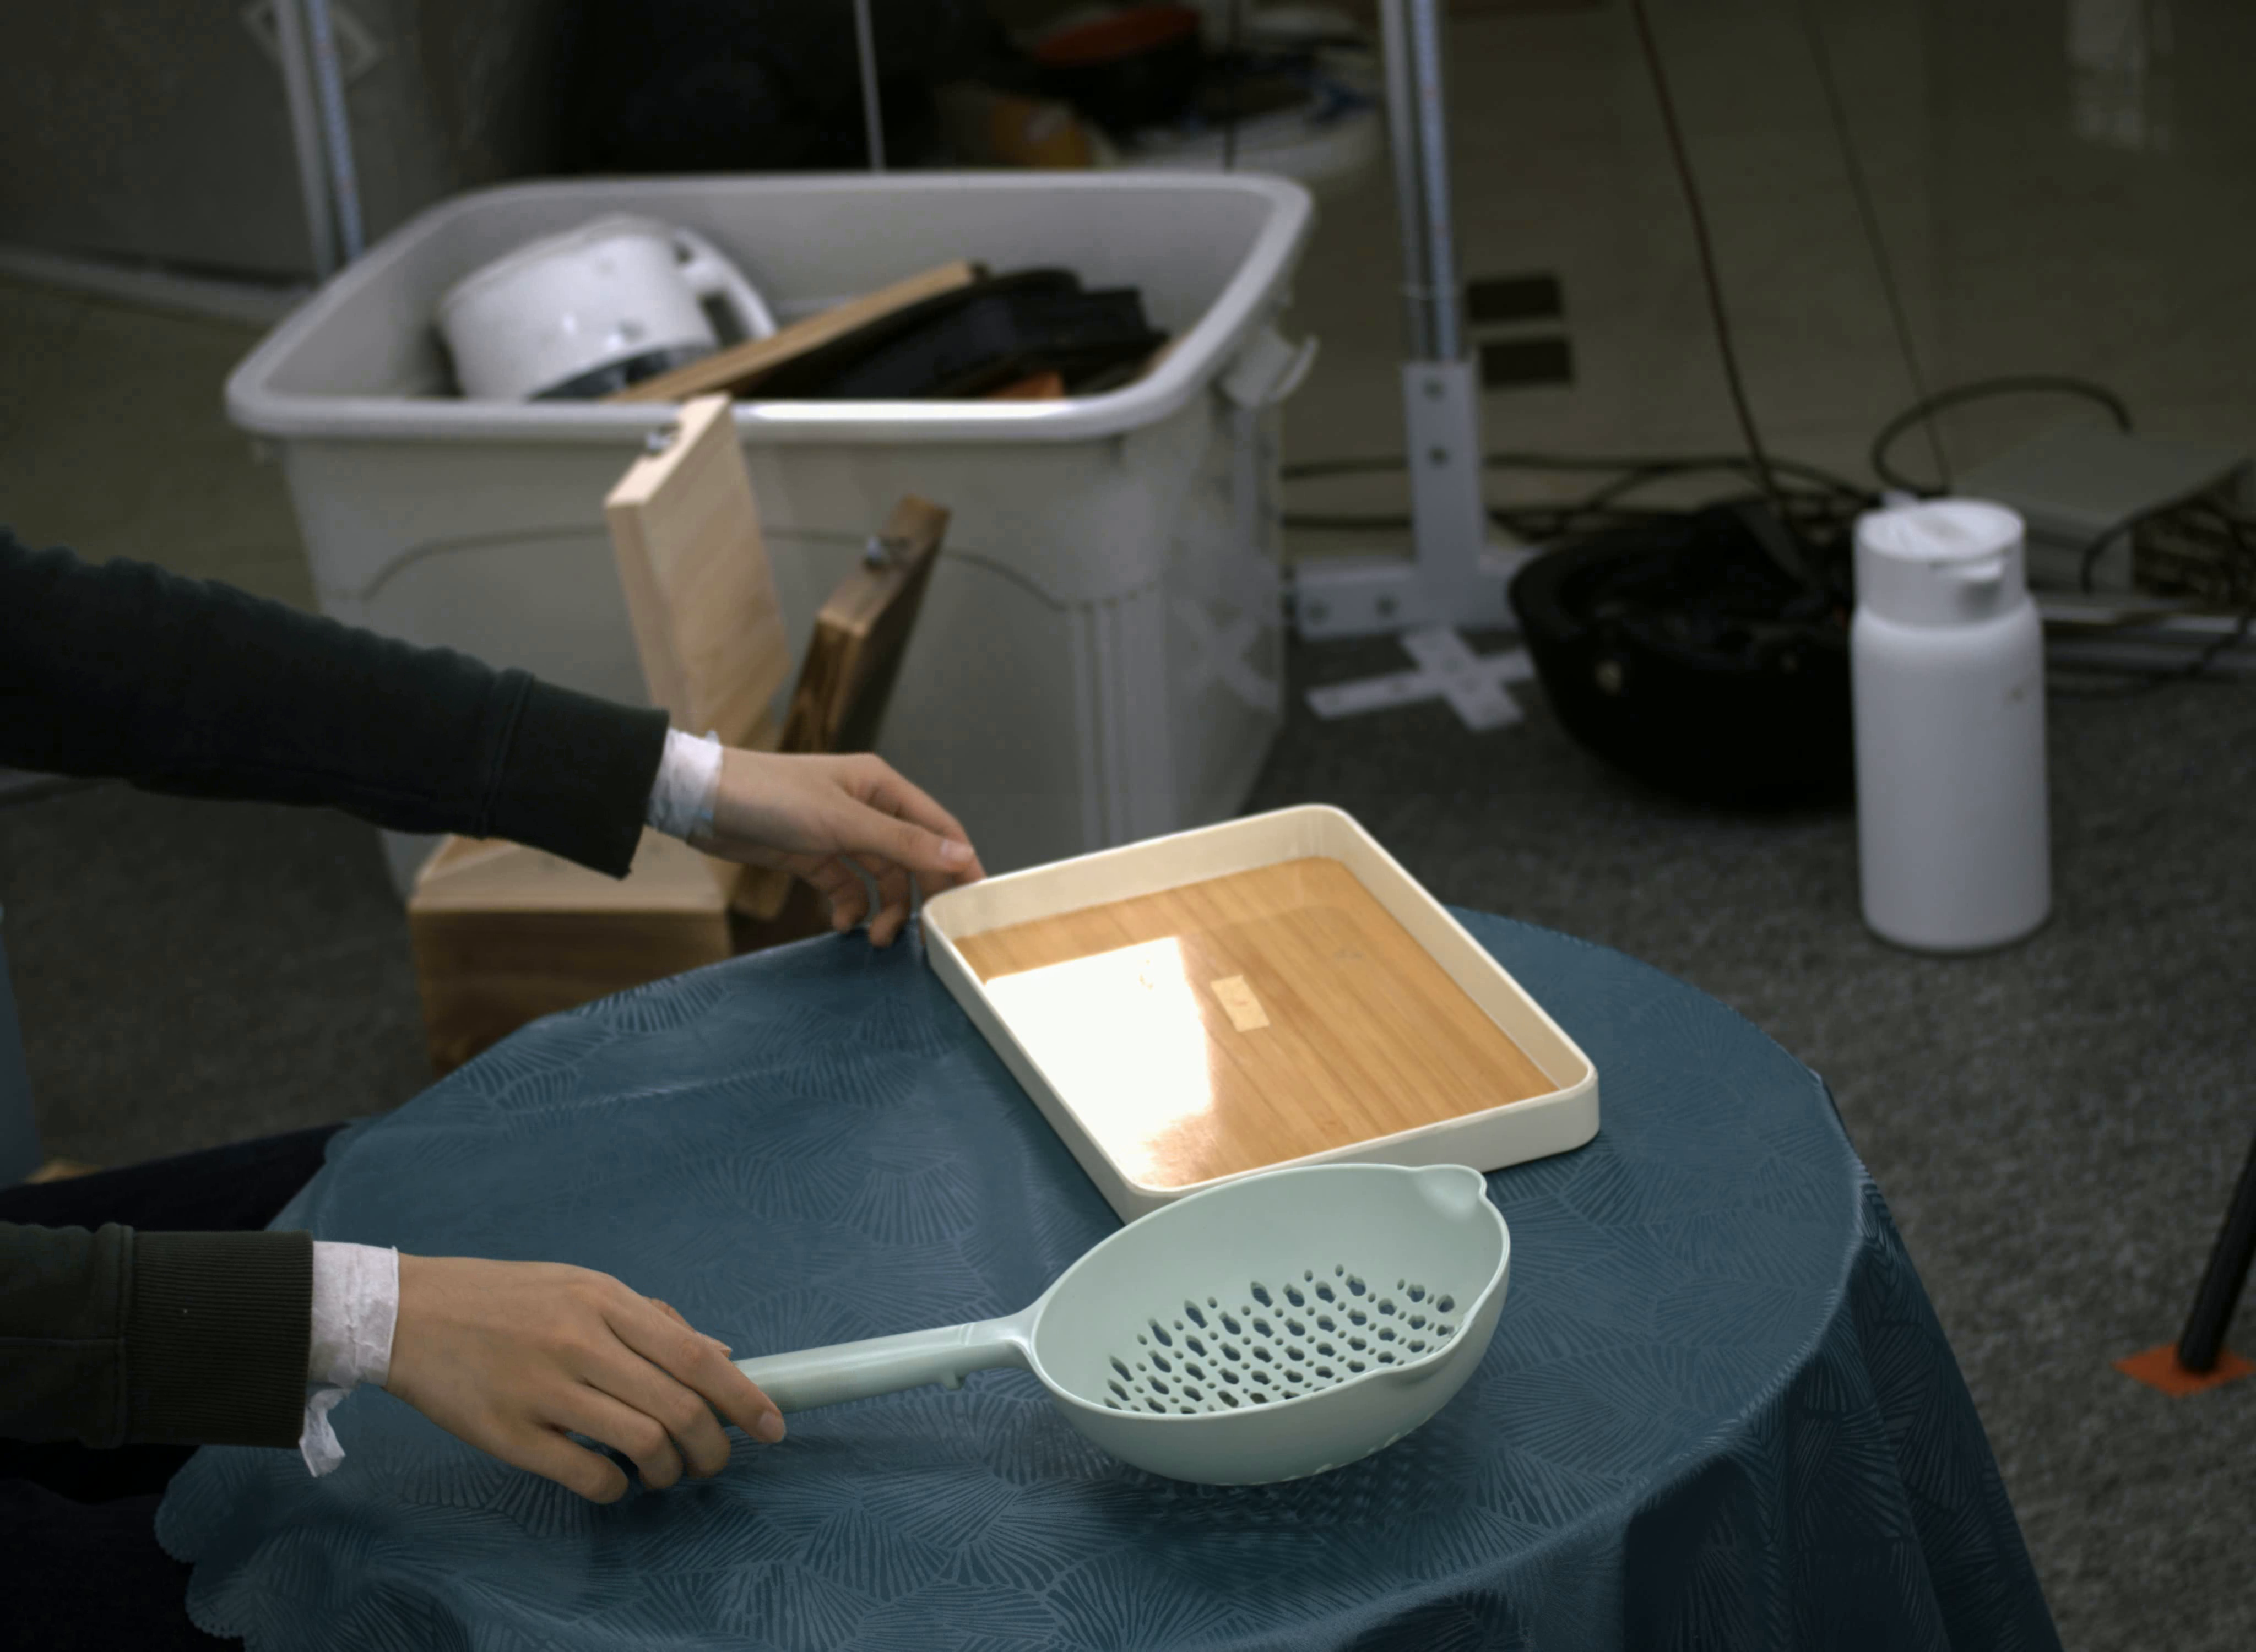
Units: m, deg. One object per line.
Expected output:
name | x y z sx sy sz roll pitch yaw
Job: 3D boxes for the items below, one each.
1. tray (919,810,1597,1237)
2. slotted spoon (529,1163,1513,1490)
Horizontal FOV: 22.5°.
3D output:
tray | 0.046 0.076 2.246 0.191 0.028 0.296 -13 25 -14
slotted spoon | -0.042 0.186 1.985 0.358 0.076 0.167 -2 25 10
